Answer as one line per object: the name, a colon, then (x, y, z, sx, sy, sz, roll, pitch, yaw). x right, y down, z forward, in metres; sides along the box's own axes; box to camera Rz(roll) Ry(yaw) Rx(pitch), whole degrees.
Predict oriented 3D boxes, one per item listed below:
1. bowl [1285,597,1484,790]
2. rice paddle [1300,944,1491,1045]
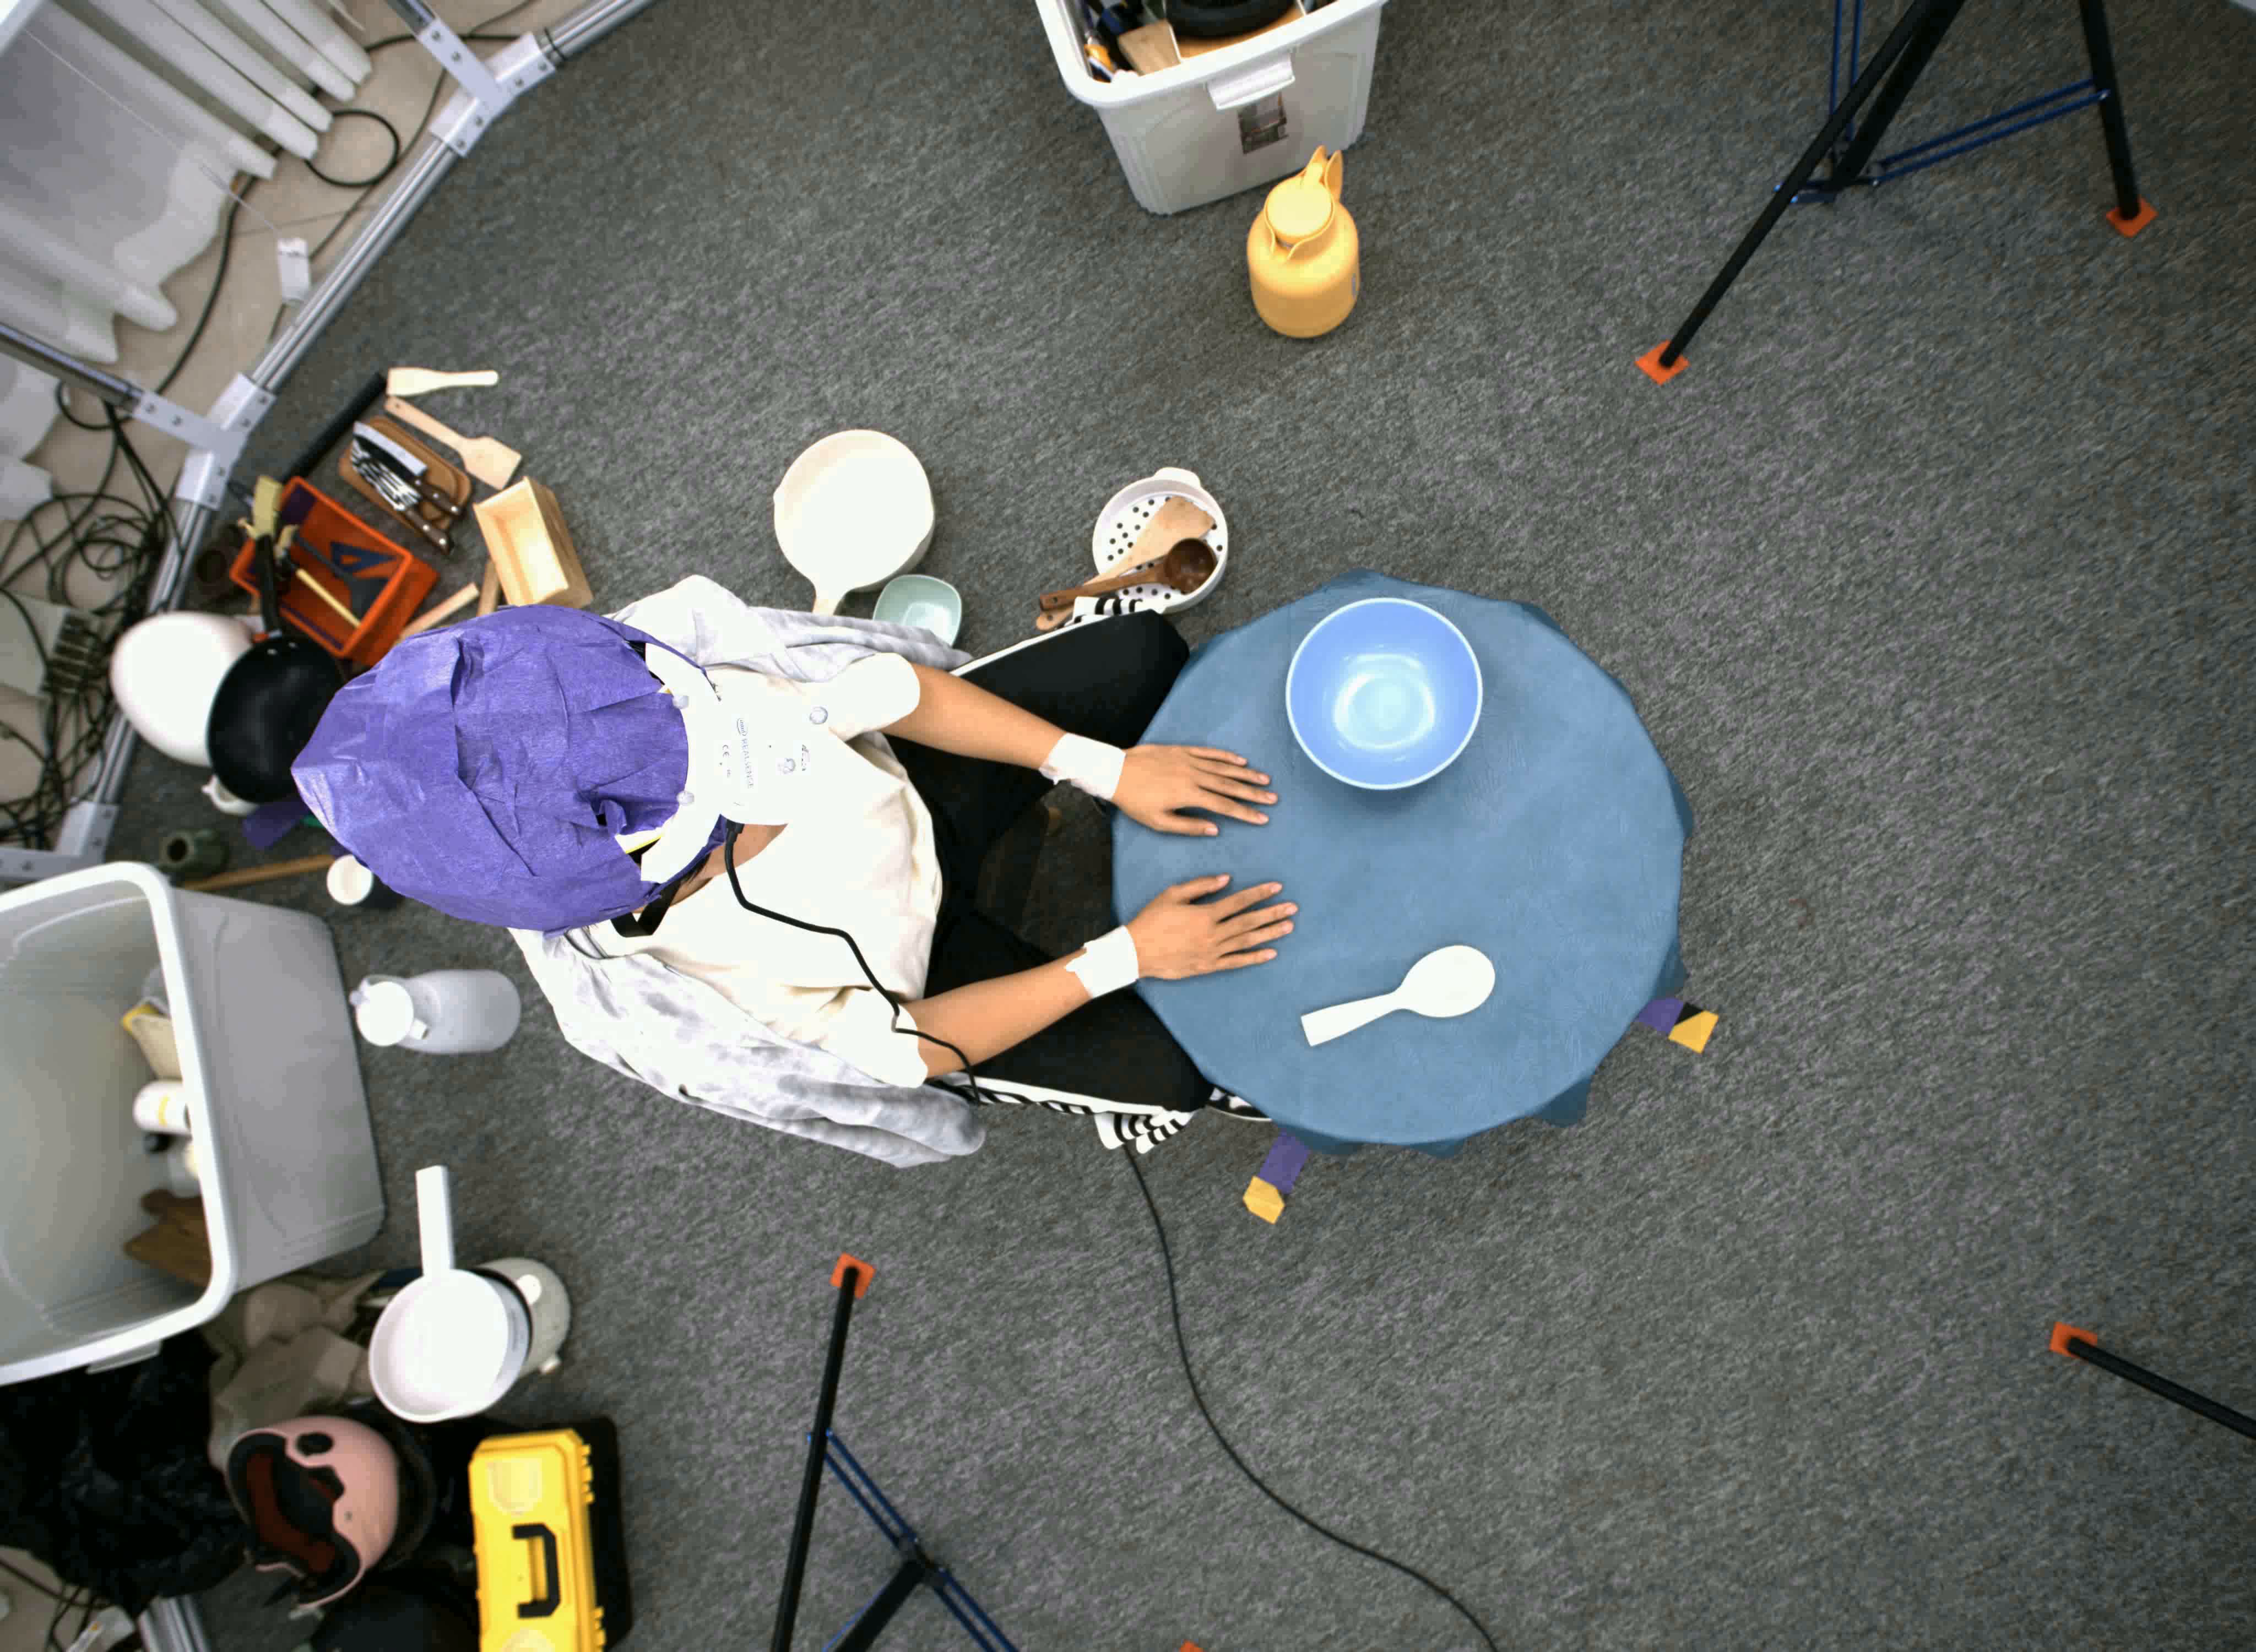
bowl: (0.263, -0.131, 1.421, 0.197, 0.095, 0.196, -1, 87, 9)
rice paddle: (0.279, 0.177, 1.435, 0.206, 0.029, 0.068, -21, 84, 9)
